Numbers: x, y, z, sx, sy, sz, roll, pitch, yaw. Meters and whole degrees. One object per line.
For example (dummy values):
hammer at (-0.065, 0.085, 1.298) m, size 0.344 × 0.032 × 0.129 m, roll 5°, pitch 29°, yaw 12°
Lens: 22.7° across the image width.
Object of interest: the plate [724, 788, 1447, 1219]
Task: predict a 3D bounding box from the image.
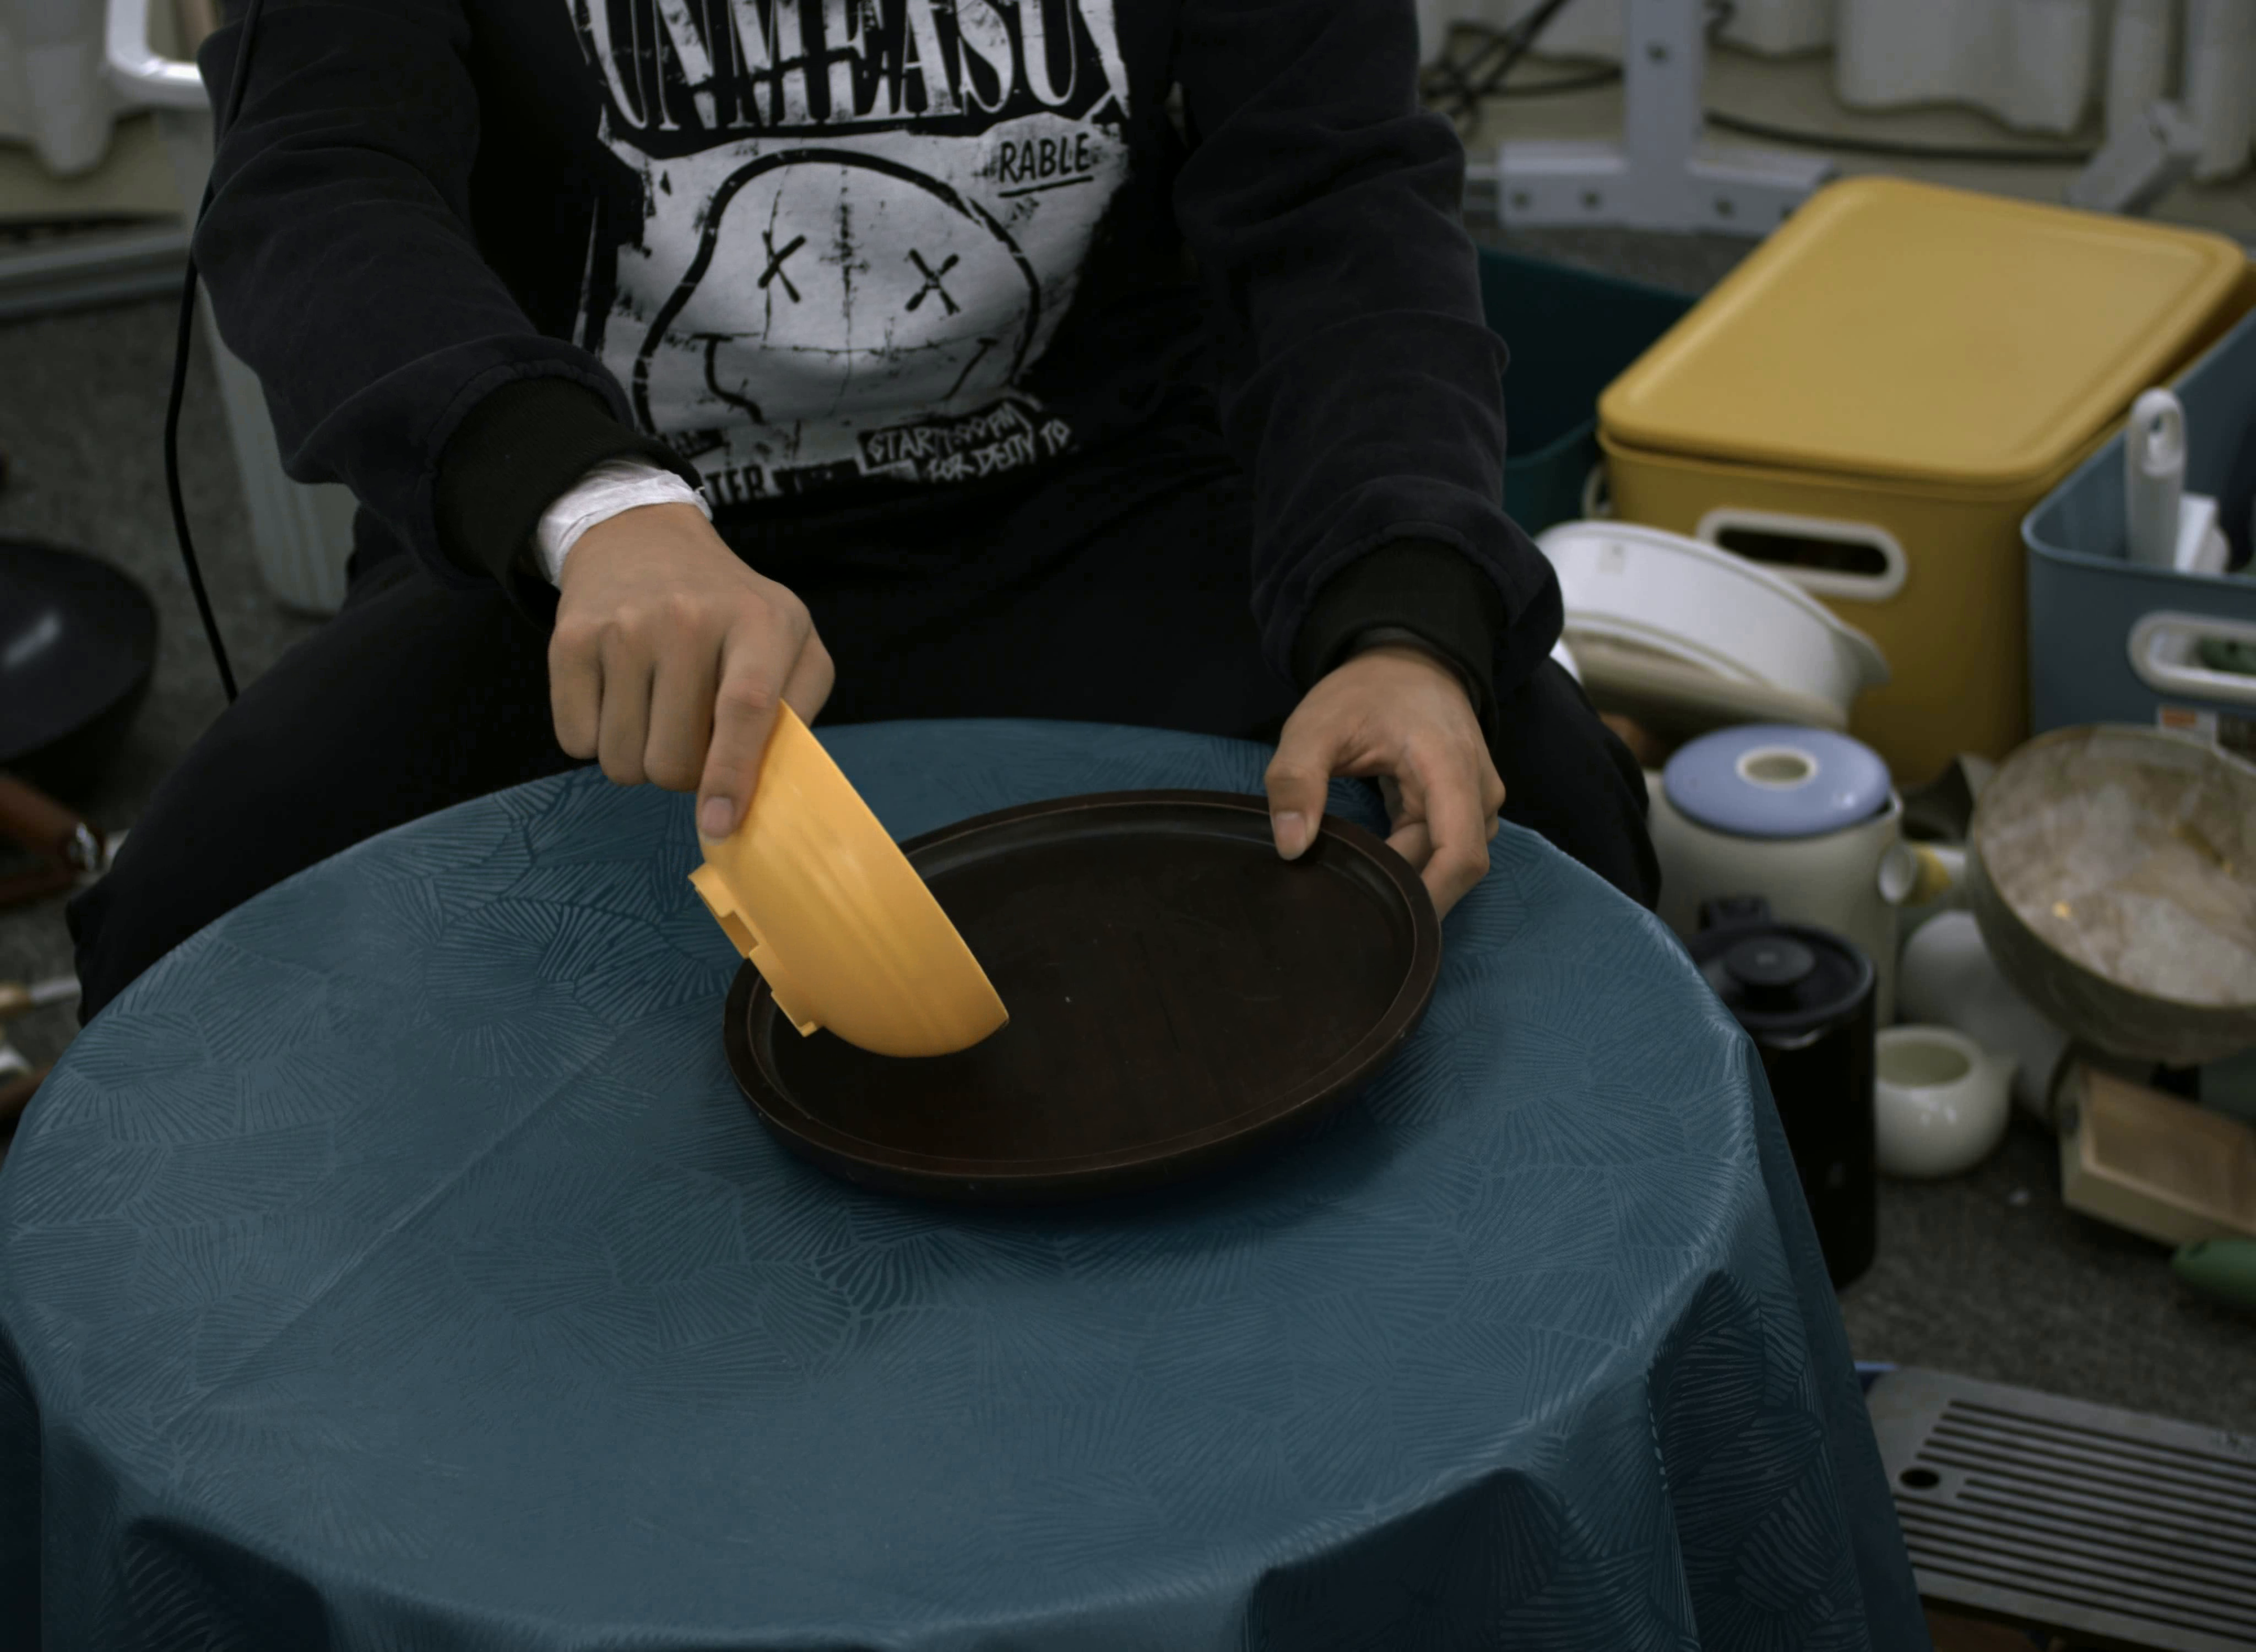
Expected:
plate at (-0.014, 0.060, 1.937) m, size 0.253 × 0.029 × 0.259 m, roll -8°, pitch 28°, yaw 5°

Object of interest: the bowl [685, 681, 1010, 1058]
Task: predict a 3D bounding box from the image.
bowl at (-0.105, 0.027, 1.860) m, size 0.060 × 0.144 × 0.146 m, roll -37°, pitch 35°, yaw -8°
